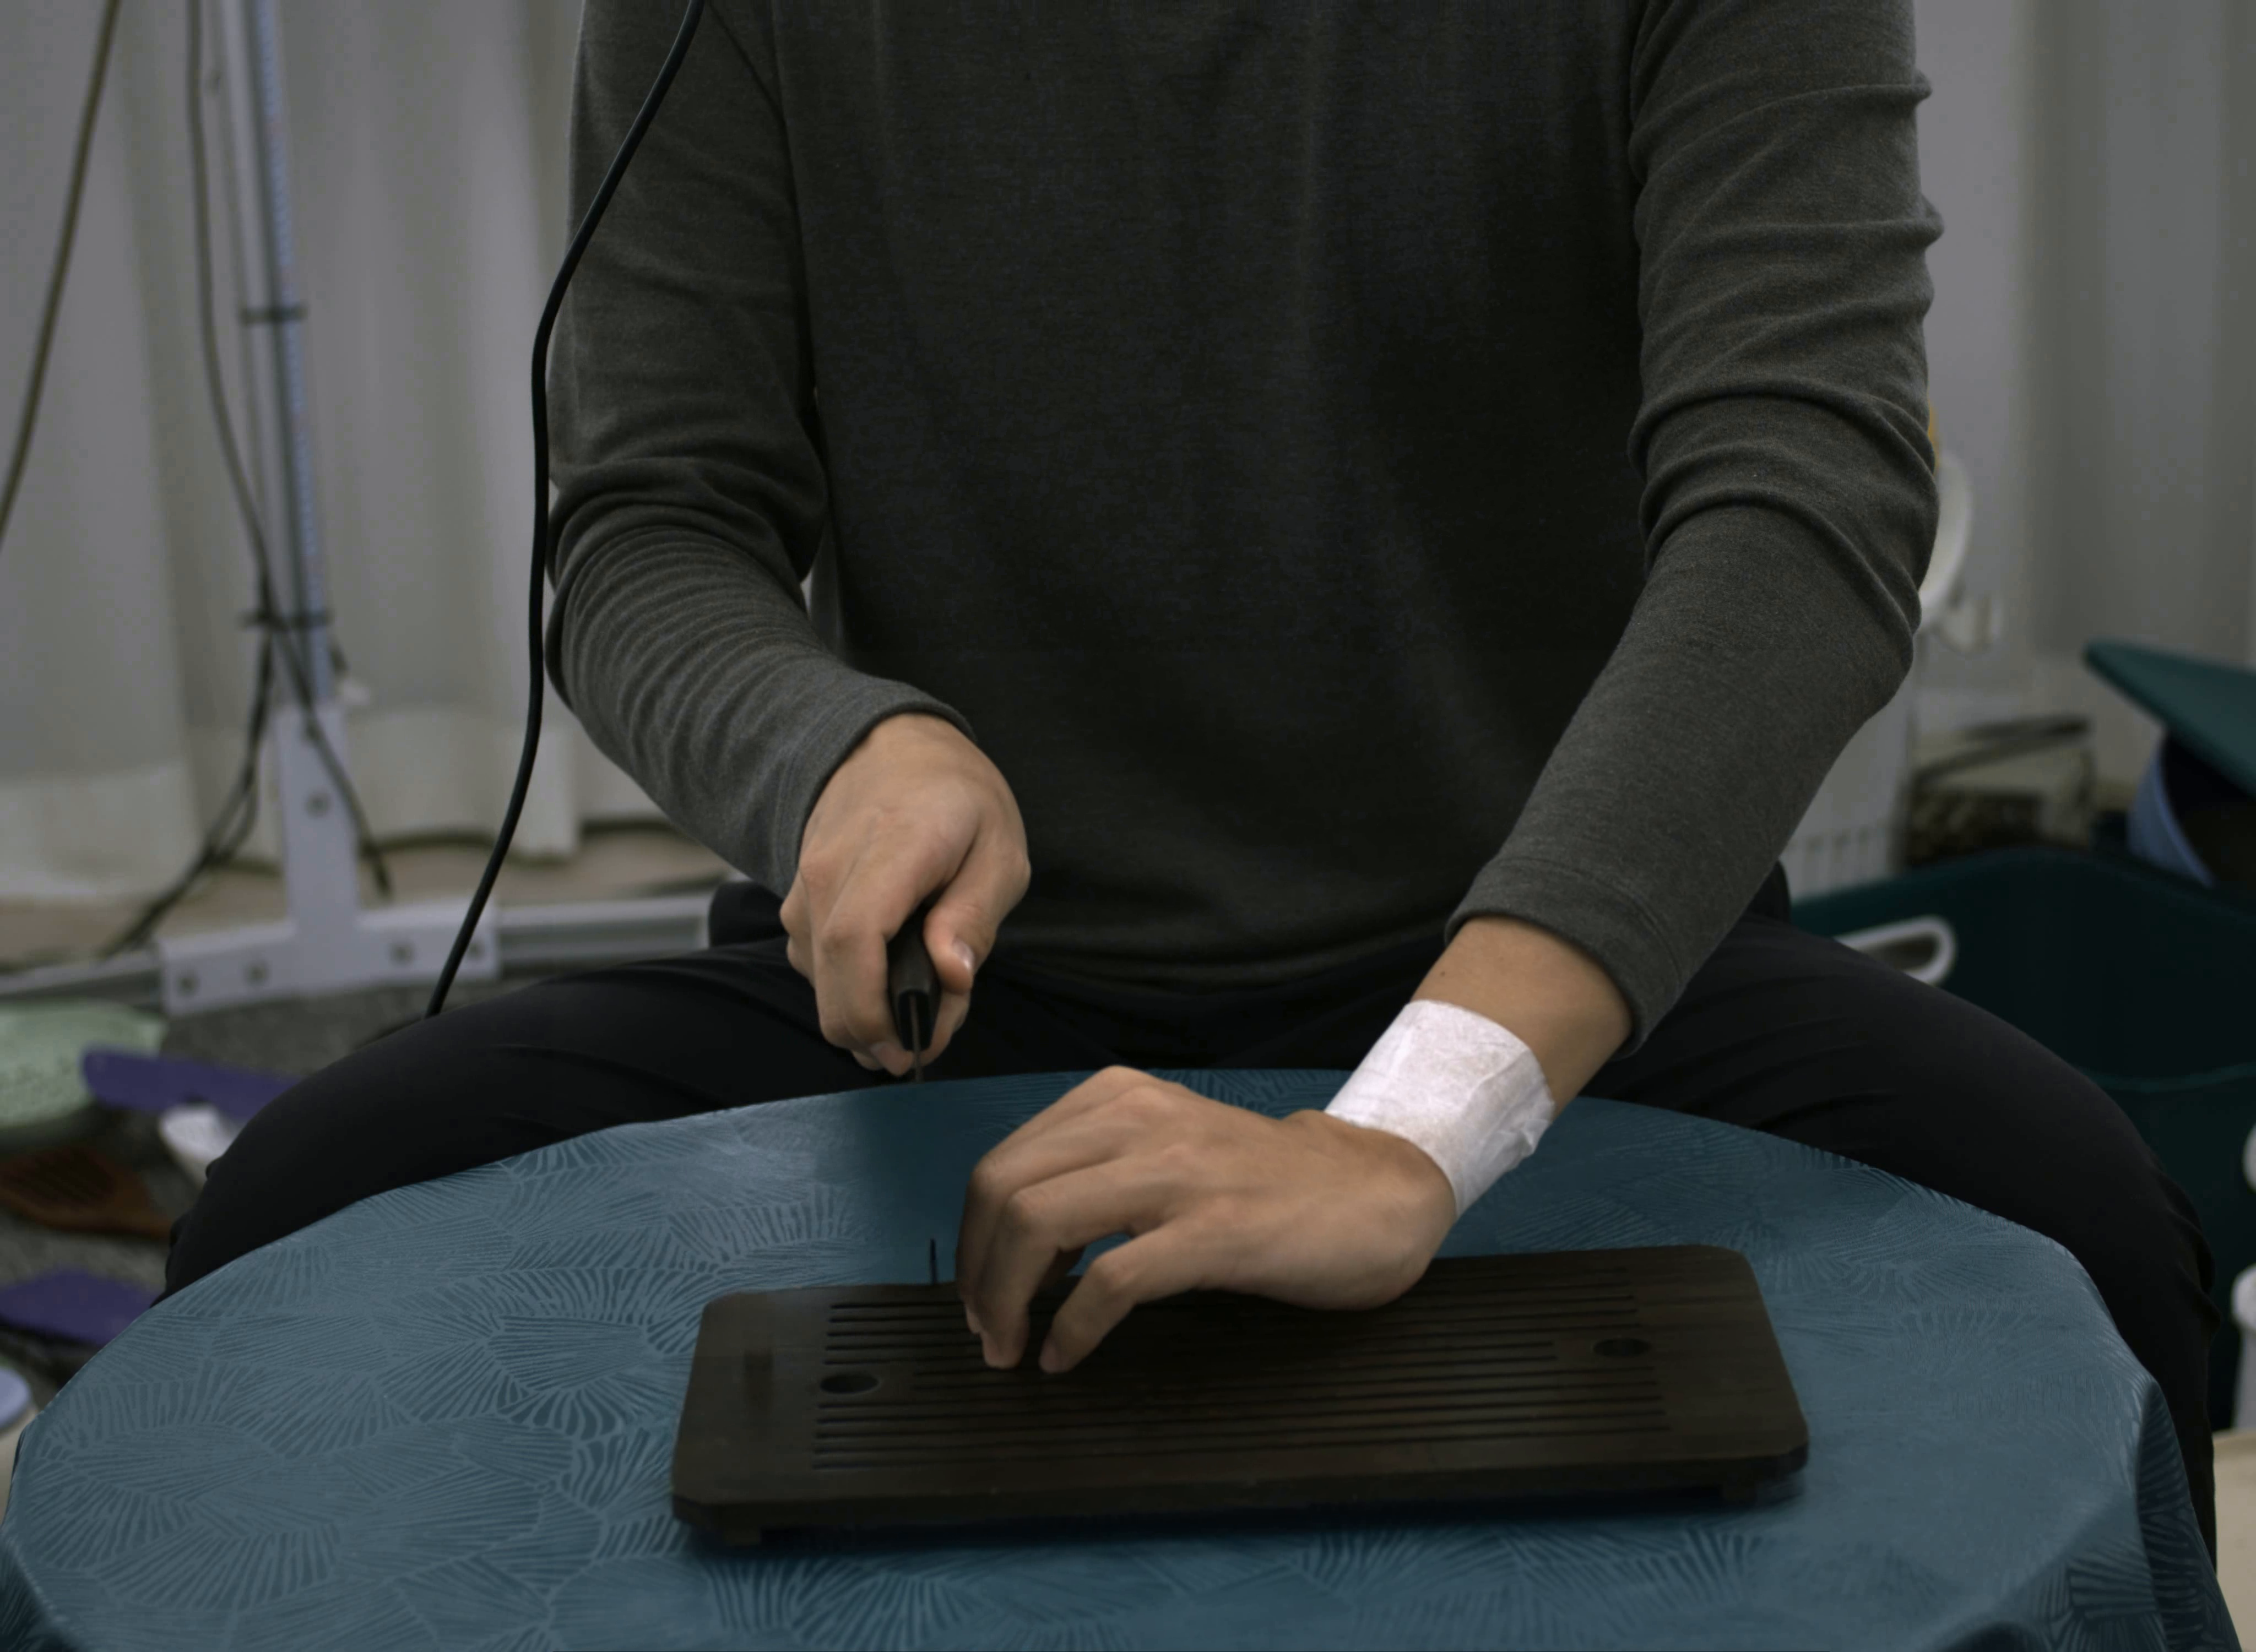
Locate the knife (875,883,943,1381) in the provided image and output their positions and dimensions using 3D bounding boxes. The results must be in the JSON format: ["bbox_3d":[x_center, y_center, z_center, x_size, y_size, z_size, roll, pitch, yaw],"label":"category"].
[{"bbox_3d":[-0.060,0.079,1.570,0.021,0.080,0.305,-4,19,-2],"label":"knife"}]

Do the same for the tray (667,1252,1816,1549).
[{"bbox_3d":[0.030,0.158,1.511,0.305,0.018,0.171,-2,14,1],"label":"tray"}]
